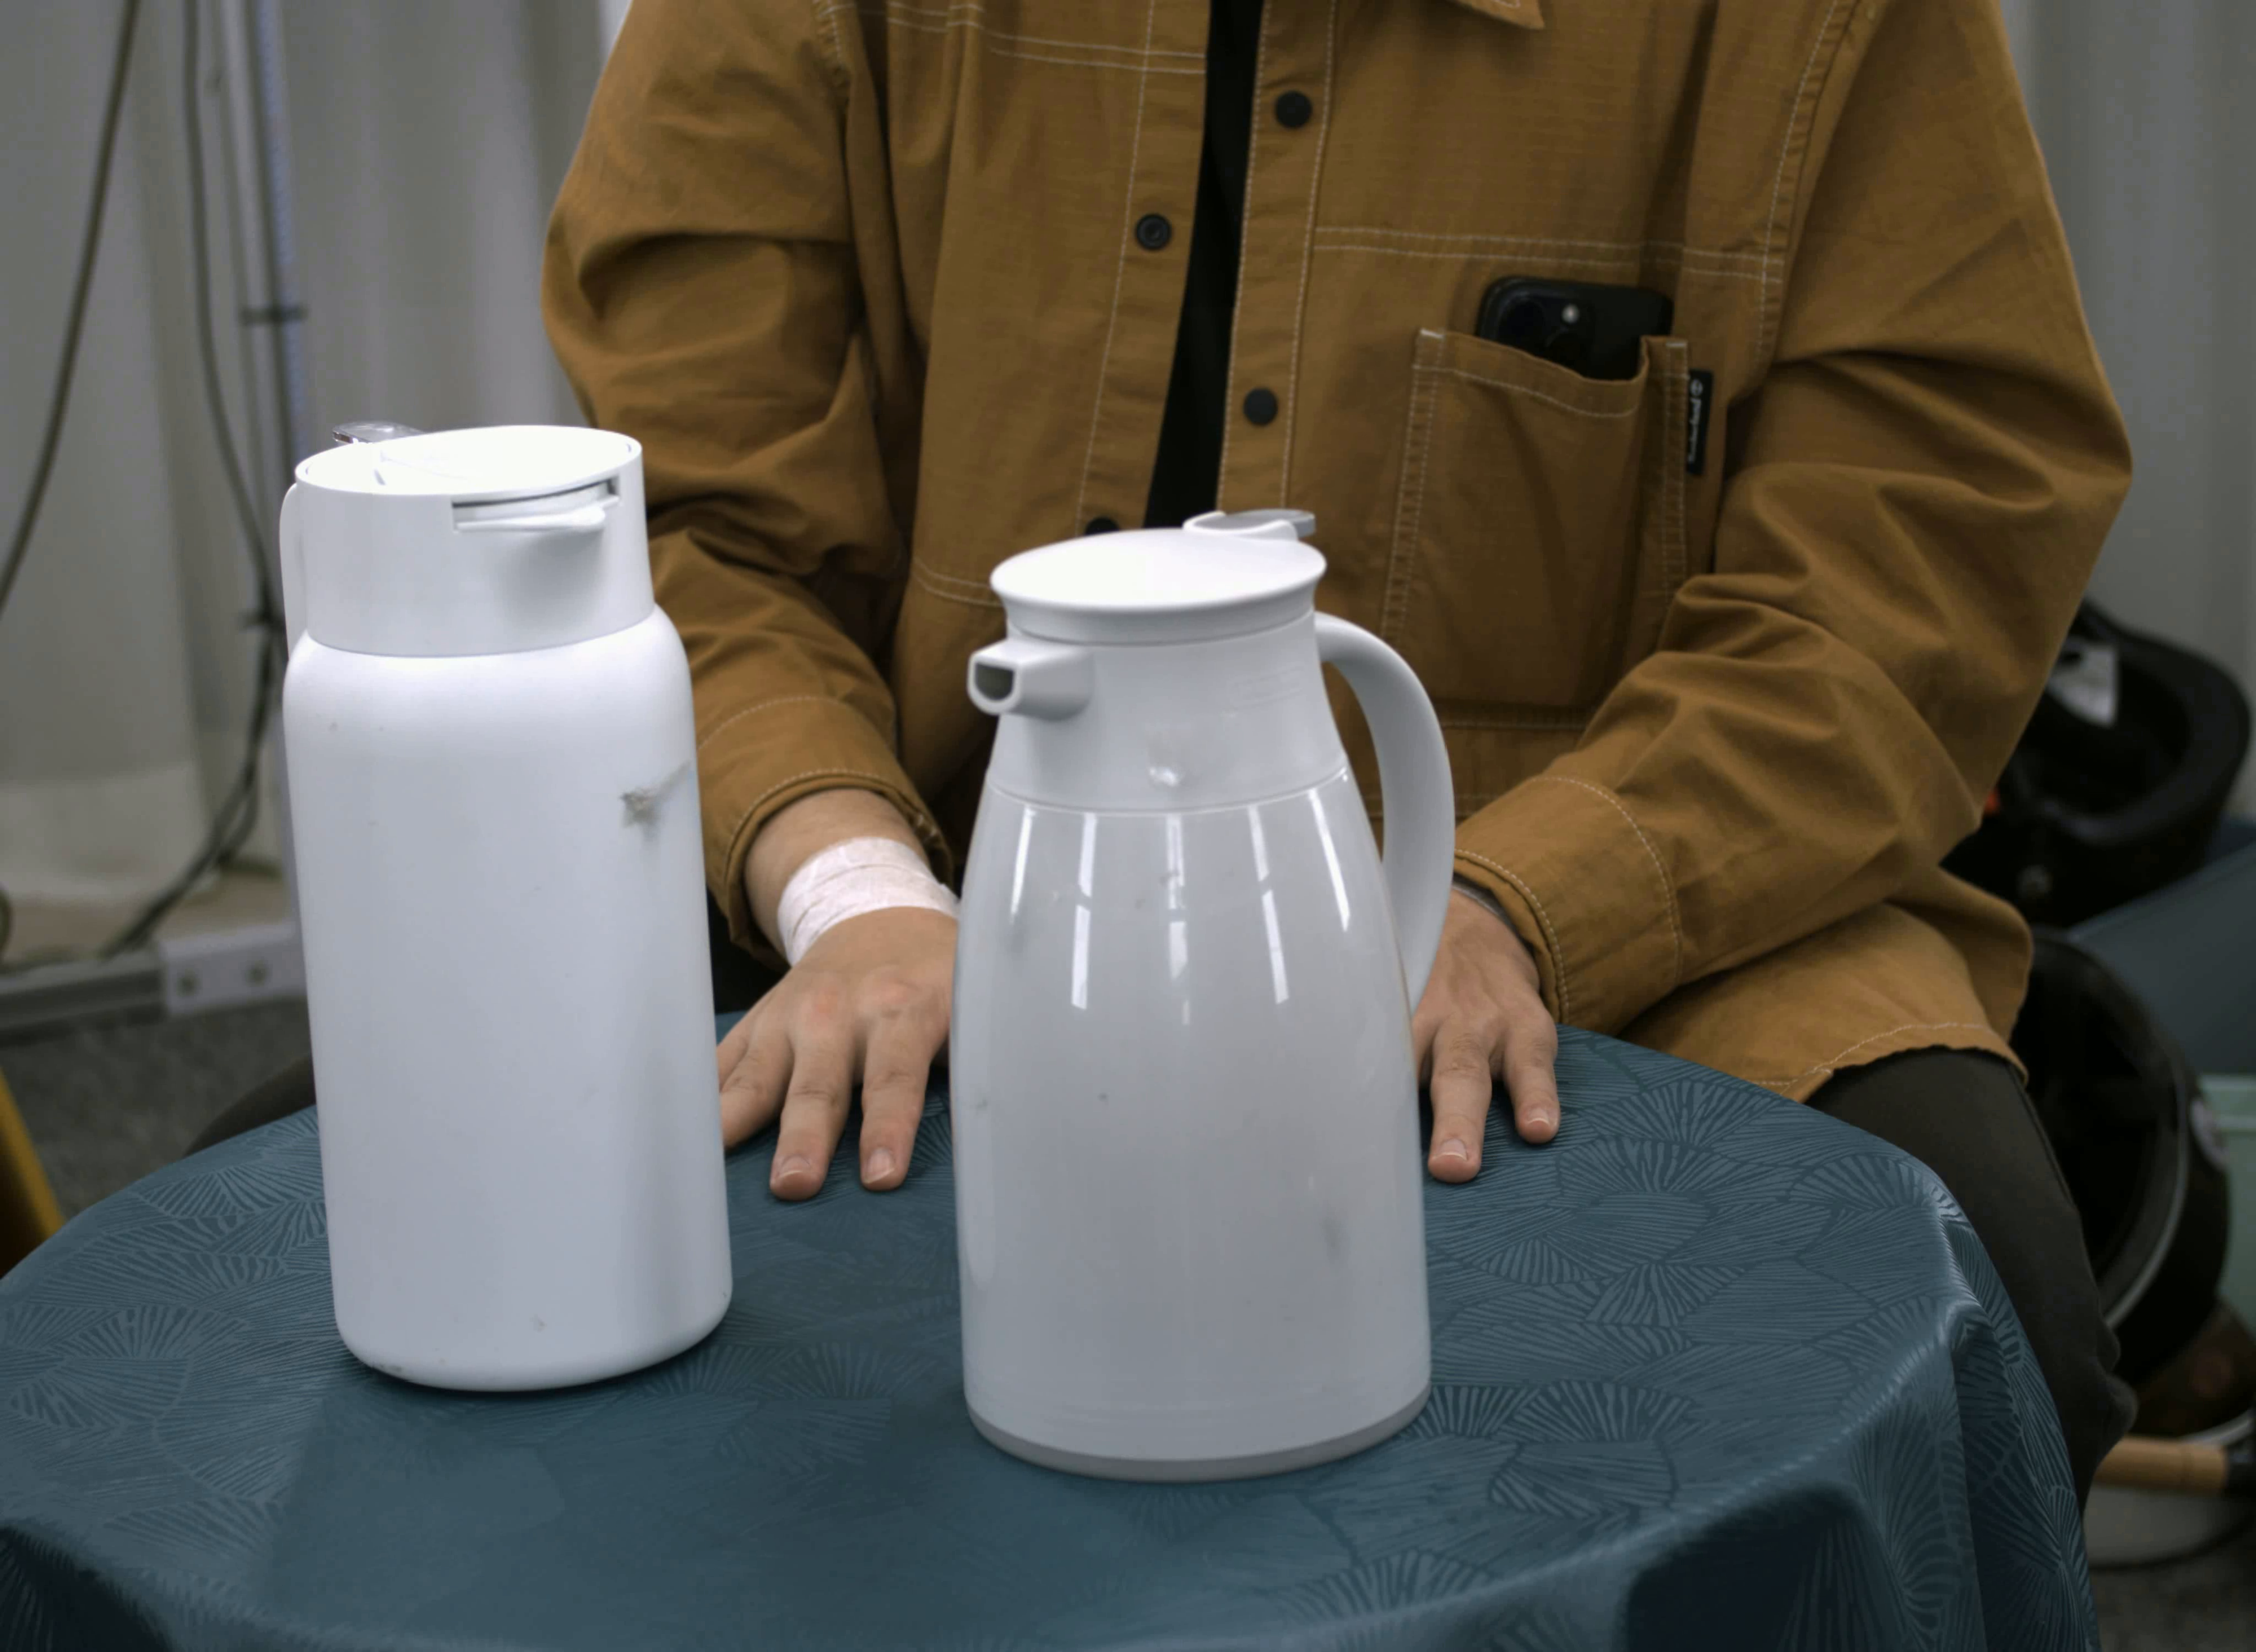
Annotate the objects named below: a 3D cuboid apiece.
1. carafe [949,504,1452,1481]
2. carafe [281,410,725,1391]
[{"bbox_3d":[0.027,0.037,1.521,0.167,0.248,0.133,-15,18,-43],"label":"carafe"},{"bbox_3d":[-0.192,0.018,1.597,0.123,0.268,0.174,-14,17,-32],"label":"carafe"}]
